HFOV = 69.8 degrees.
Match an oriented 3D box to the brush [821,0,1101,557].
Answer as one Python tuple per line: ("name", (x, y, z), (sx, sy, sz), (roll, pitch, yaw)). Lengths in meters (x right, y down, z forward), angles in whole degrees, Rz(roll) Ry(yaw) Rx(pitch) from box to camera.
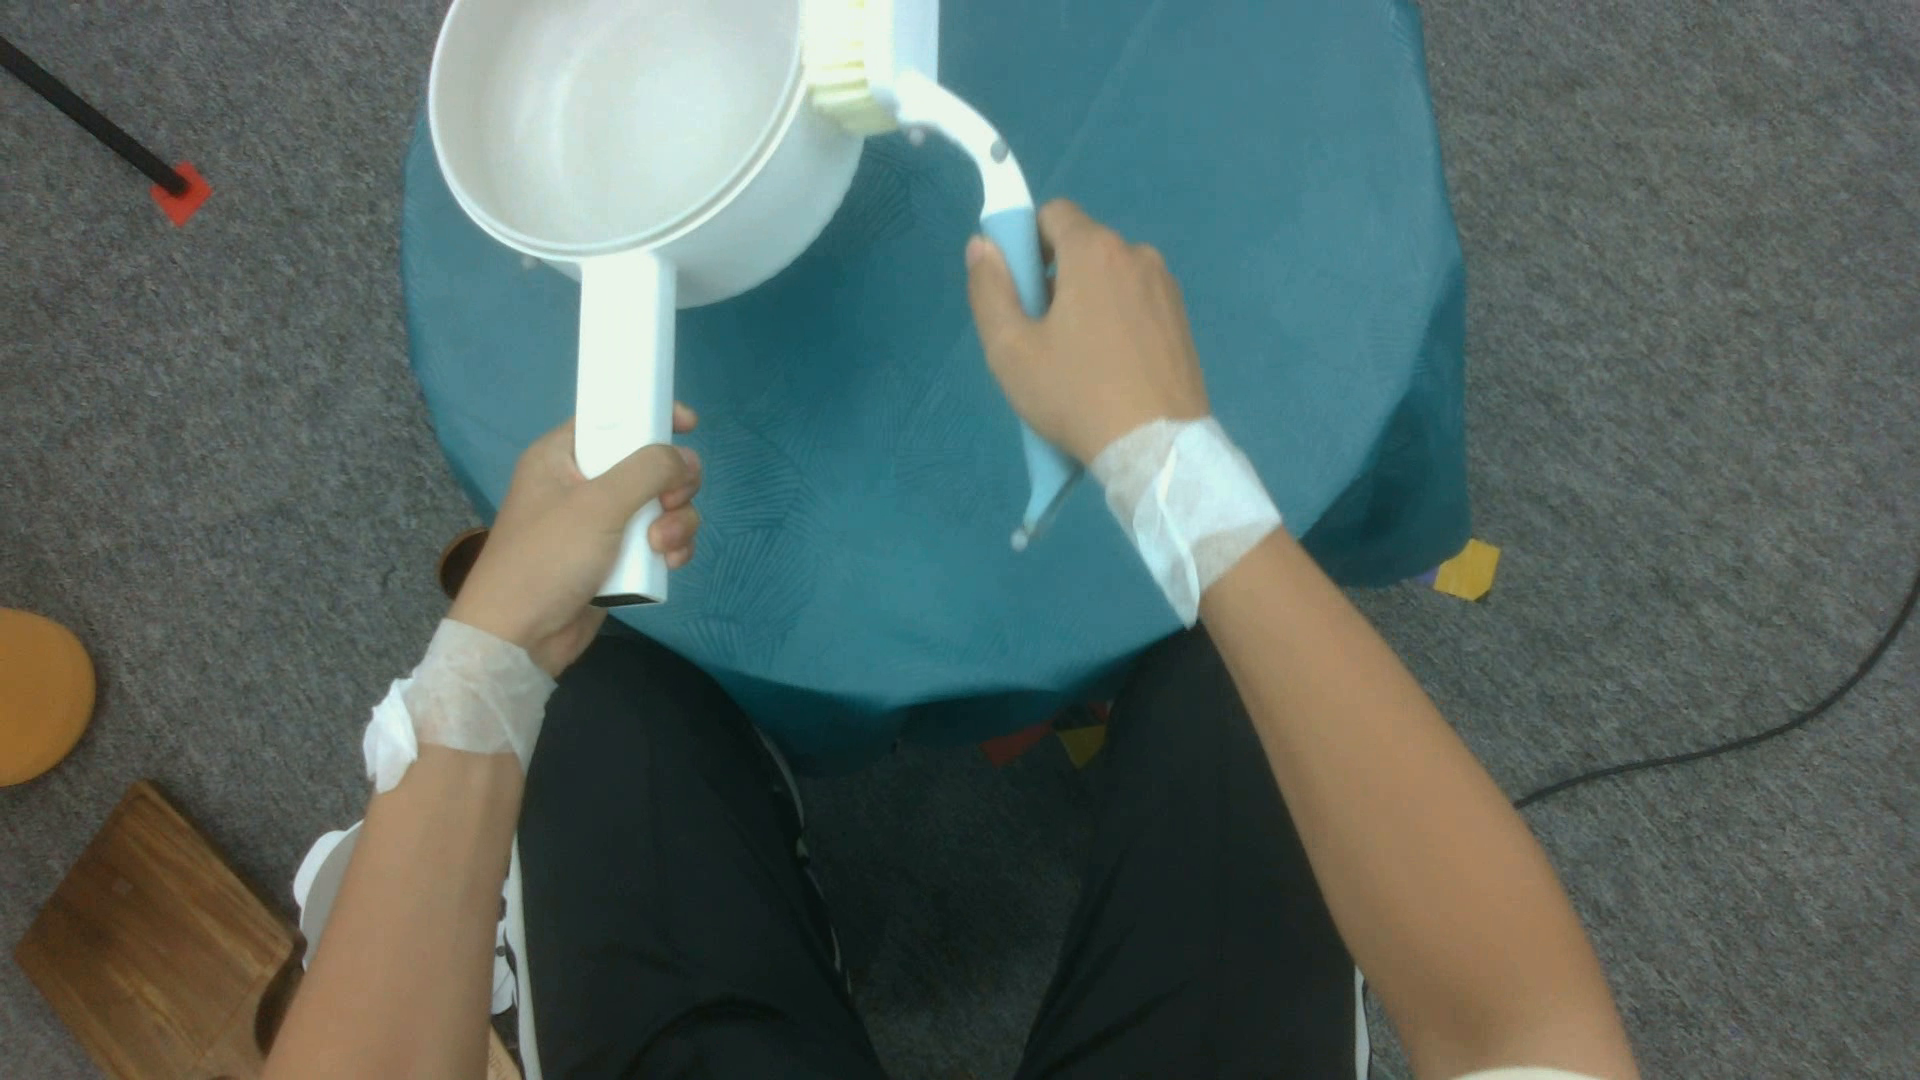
("brush", (-0.016, -0.144, 0.625), (0.083, 0.084, 0.326), (-4, 78, -35))

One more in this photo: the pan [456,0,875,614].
("pan", (-0.138, -0.137, 0.681), (0.201, 0.102, 0.355), (-6, 77, 17))
